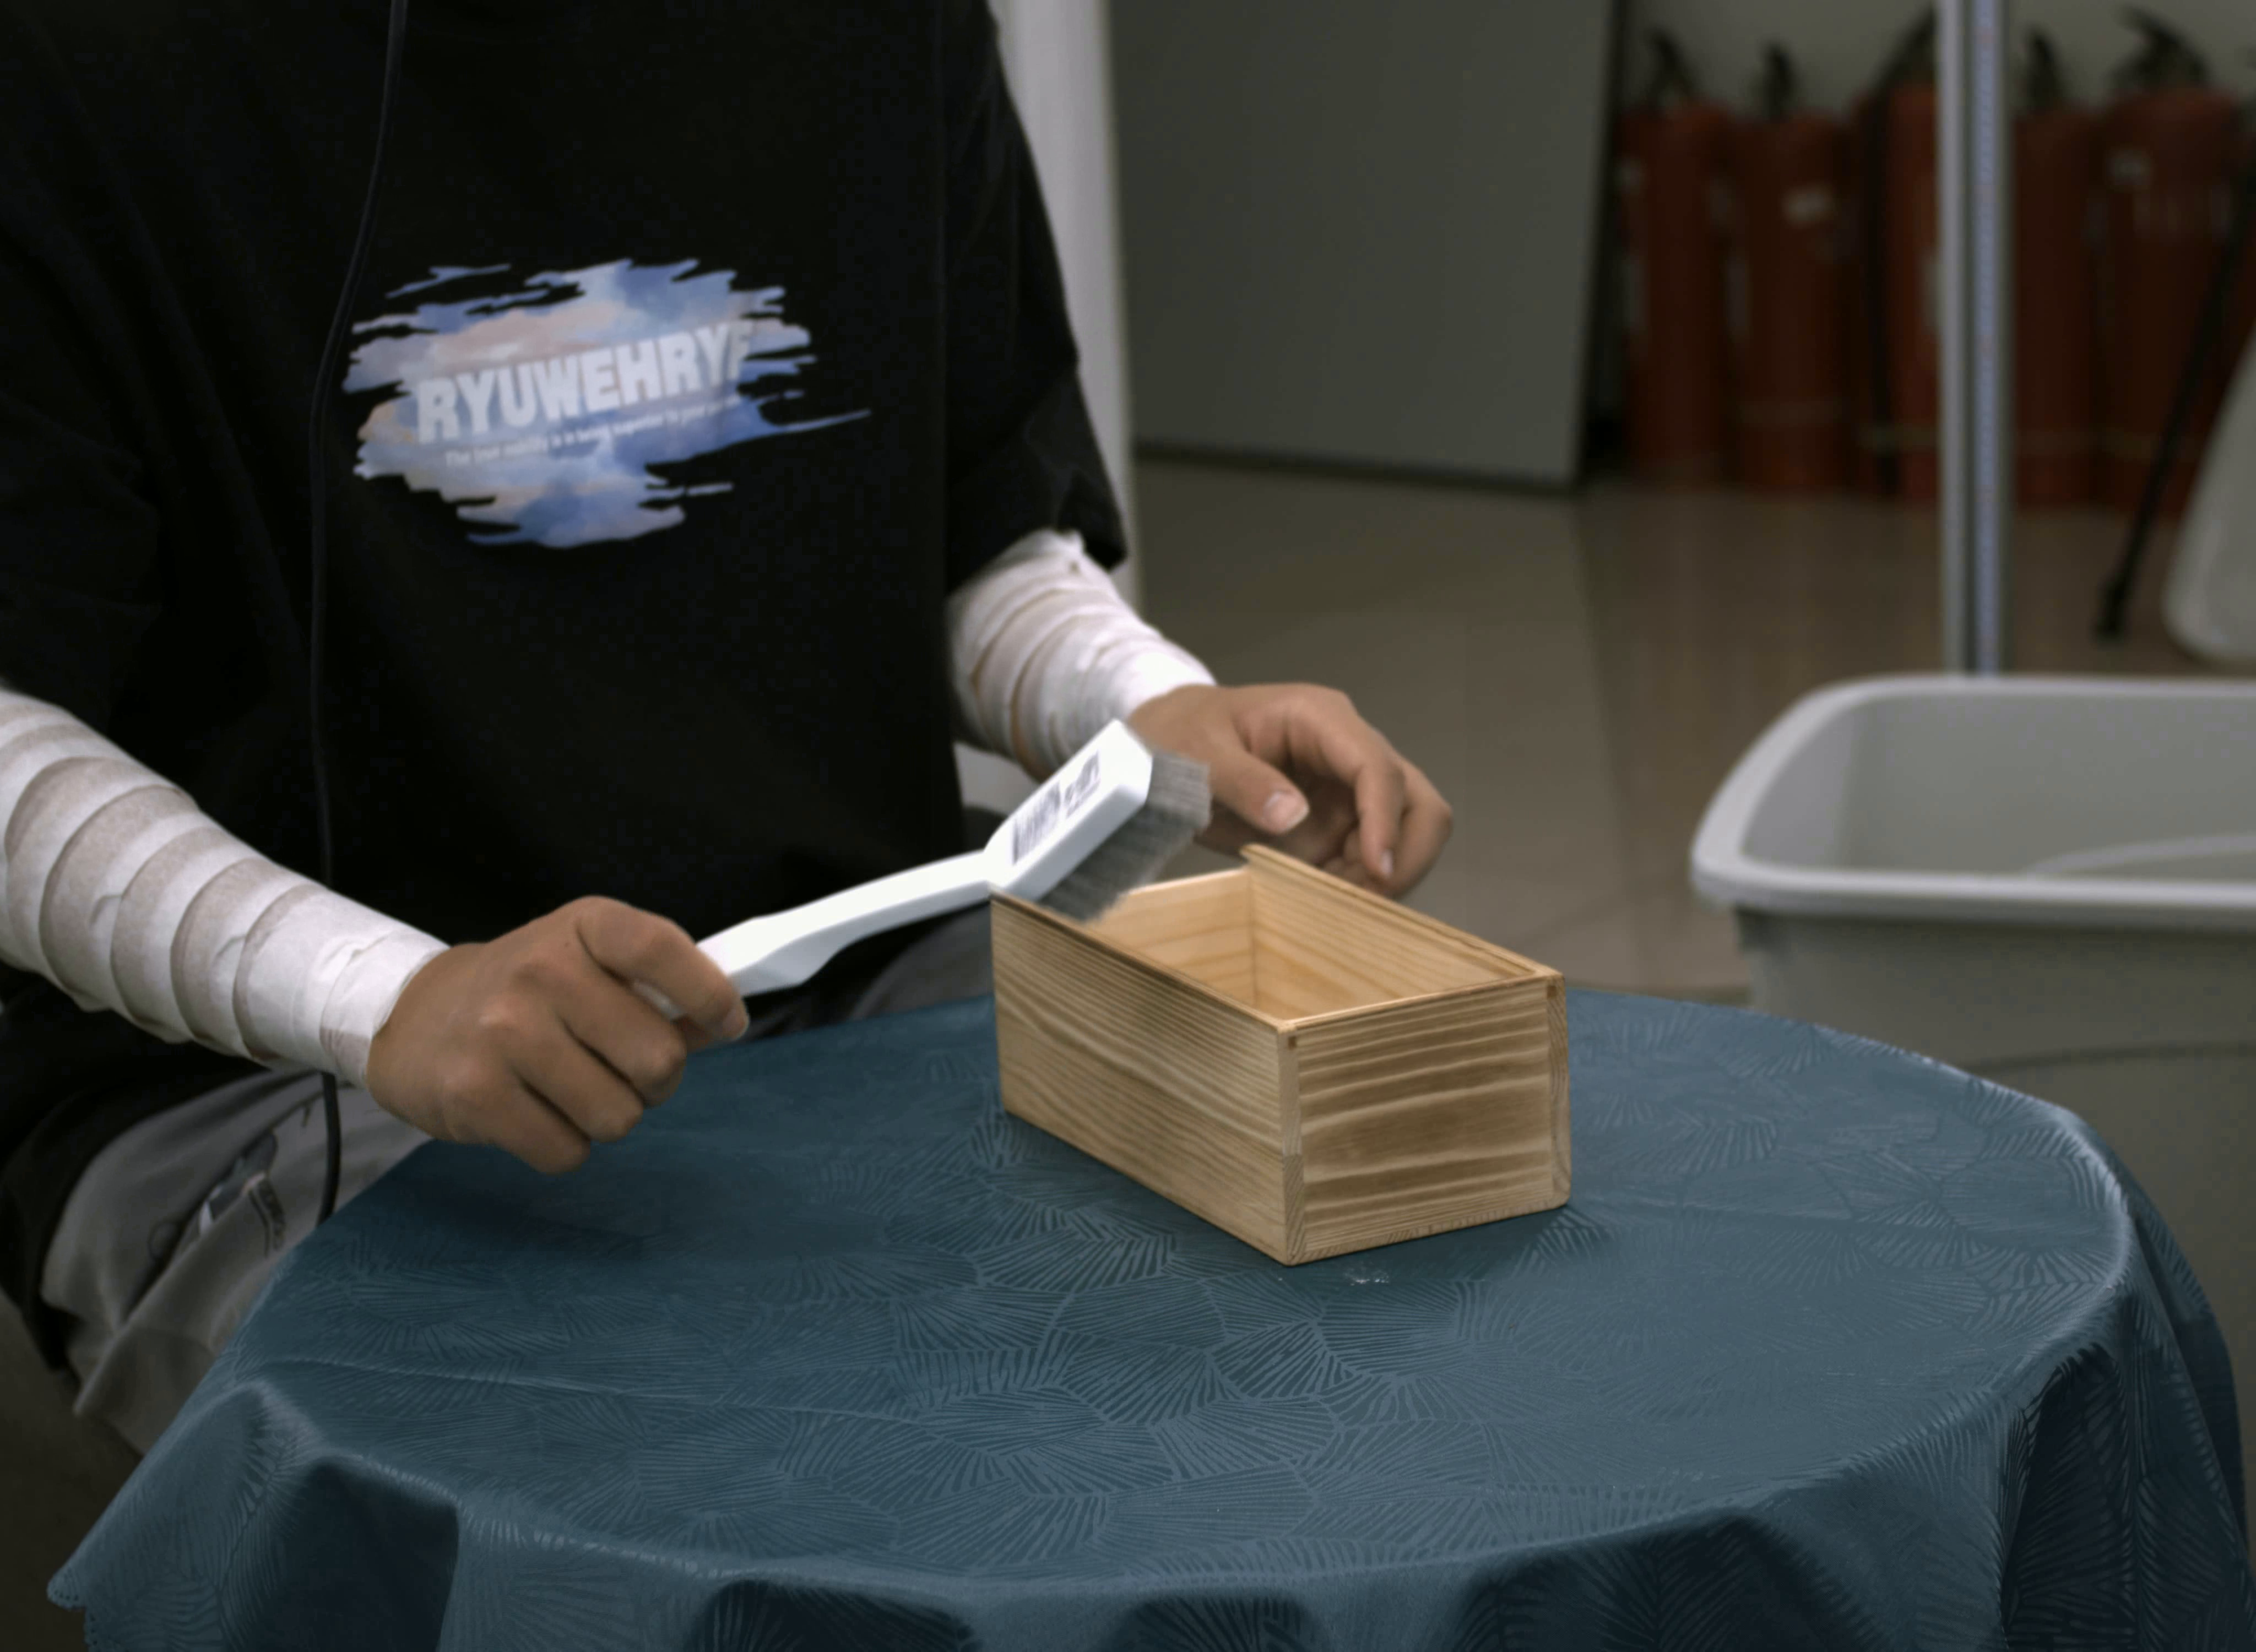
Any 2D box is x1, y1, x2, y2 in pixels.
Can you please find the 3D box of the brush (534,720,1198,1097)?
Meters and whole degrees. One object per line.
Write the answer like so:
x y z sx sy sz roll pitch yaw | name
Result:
-0.082 0.039 1.724 0.244 0.050 0.034 -29 36 20 | brush

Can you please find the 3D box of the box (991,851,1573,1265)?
0.048 0.074 1.788 0.105 0.081 0.213 -11 14 -25 | box
